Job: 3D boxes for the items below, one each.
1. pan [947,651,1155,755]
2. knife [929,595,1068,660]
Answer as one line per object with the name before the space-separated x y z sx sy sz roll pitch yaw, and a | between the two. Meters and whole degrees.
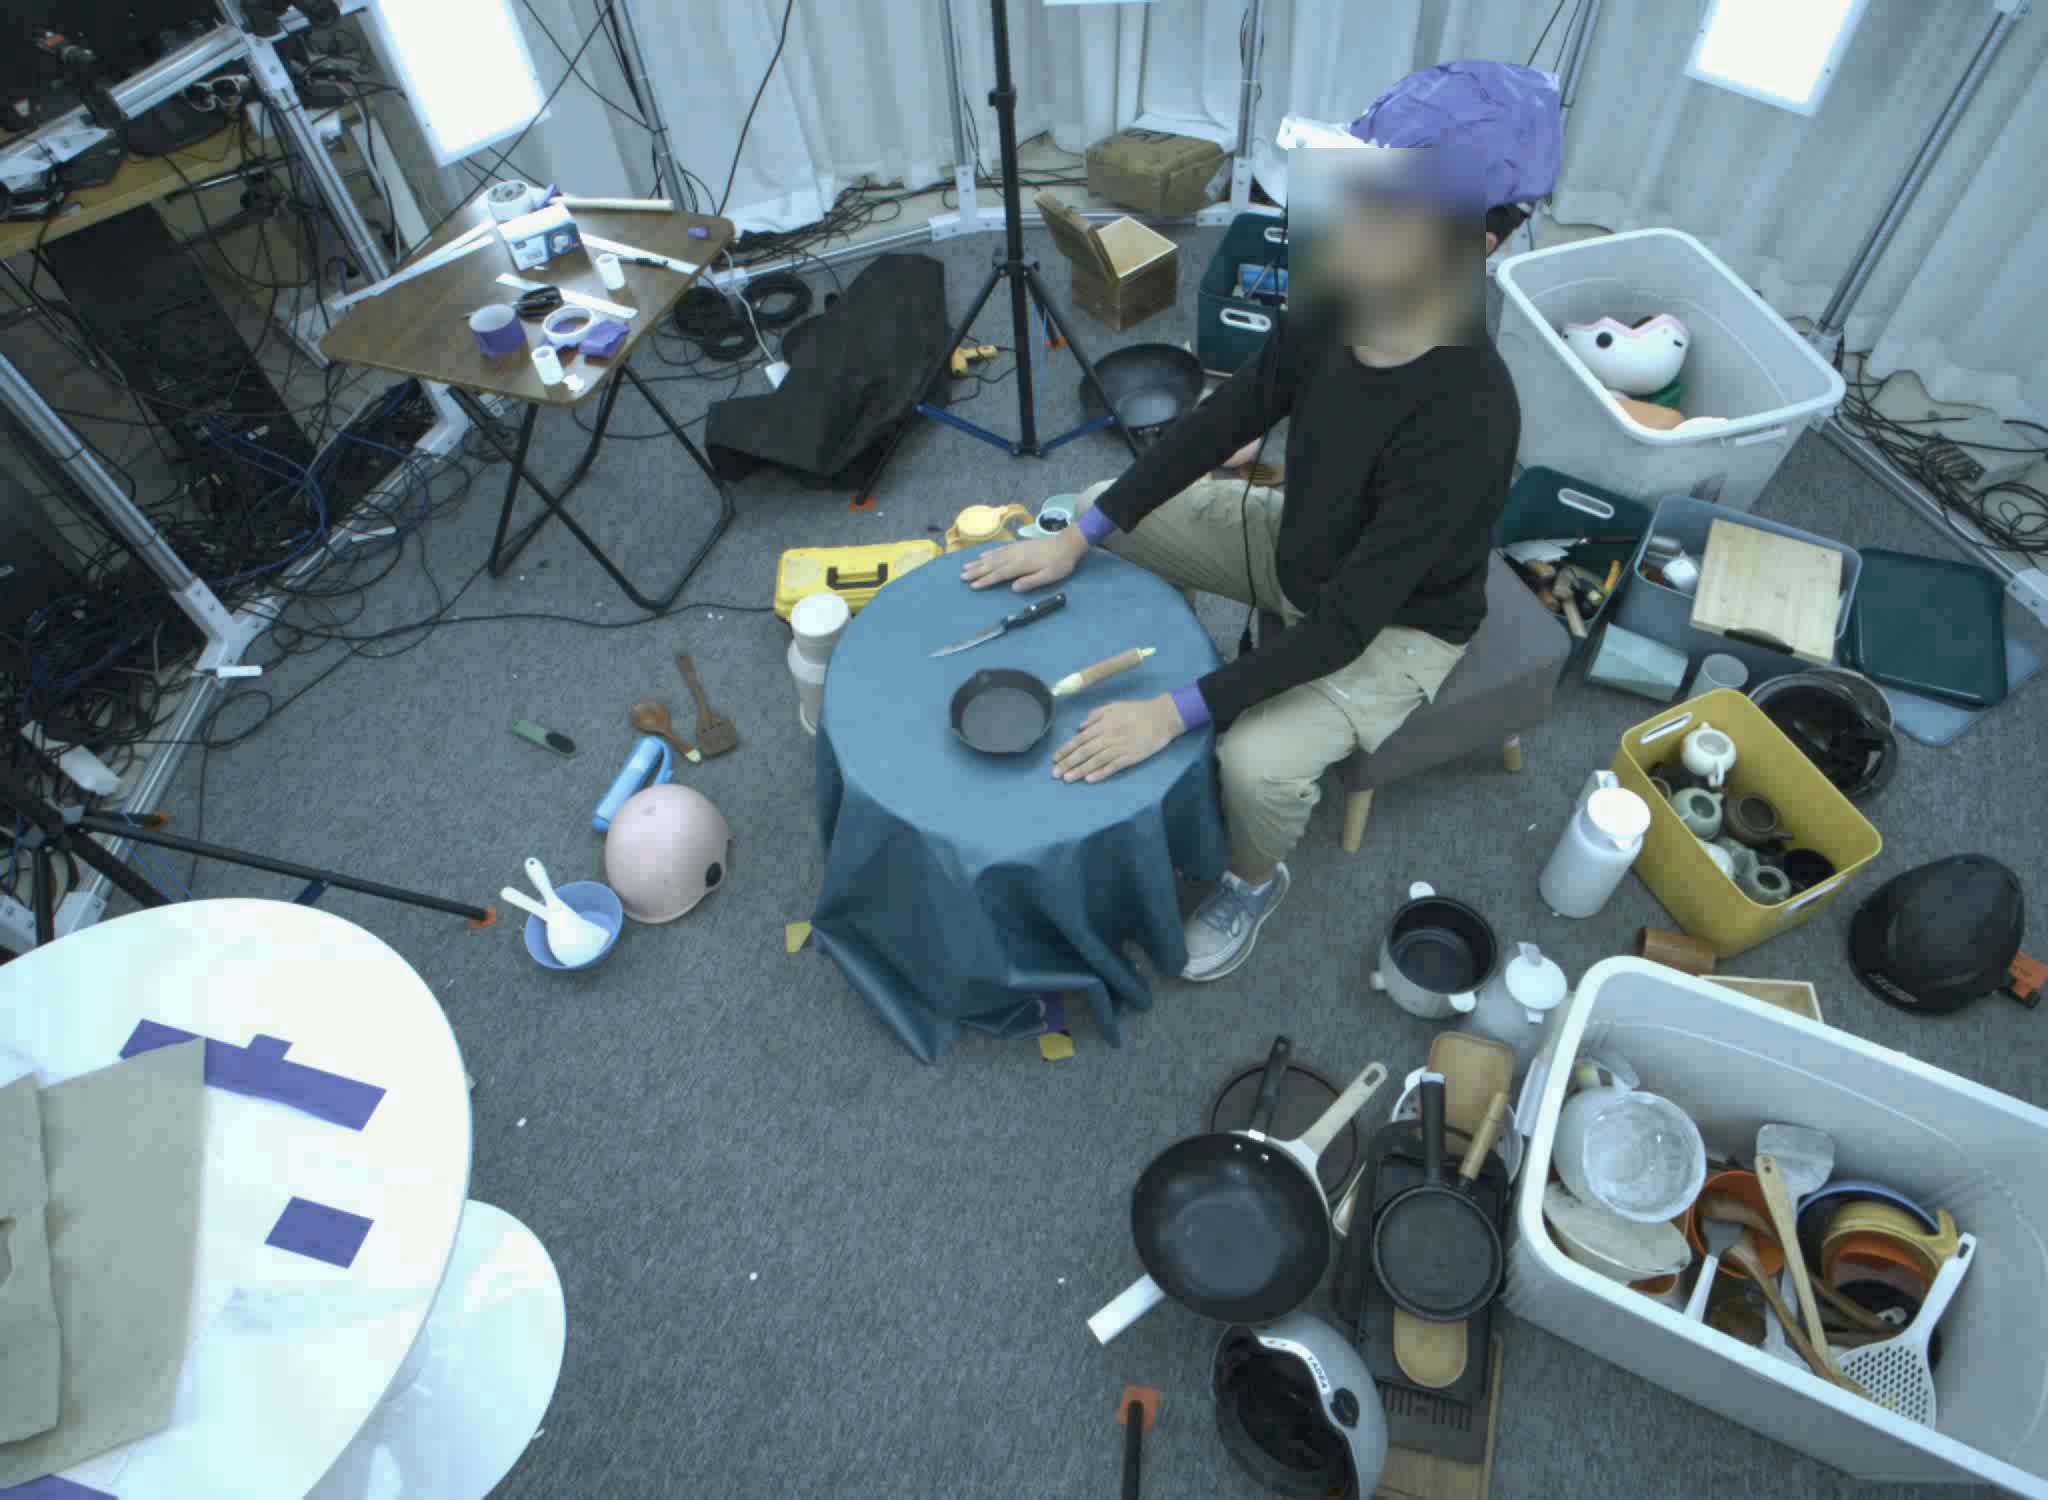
pan | 0.045 -0.084 1.813 0.326 0.050 0.166 -18 56 -12
knife | -0.042 -0.191 1.915 0.239 0.016 0.024 -25 57 -12
